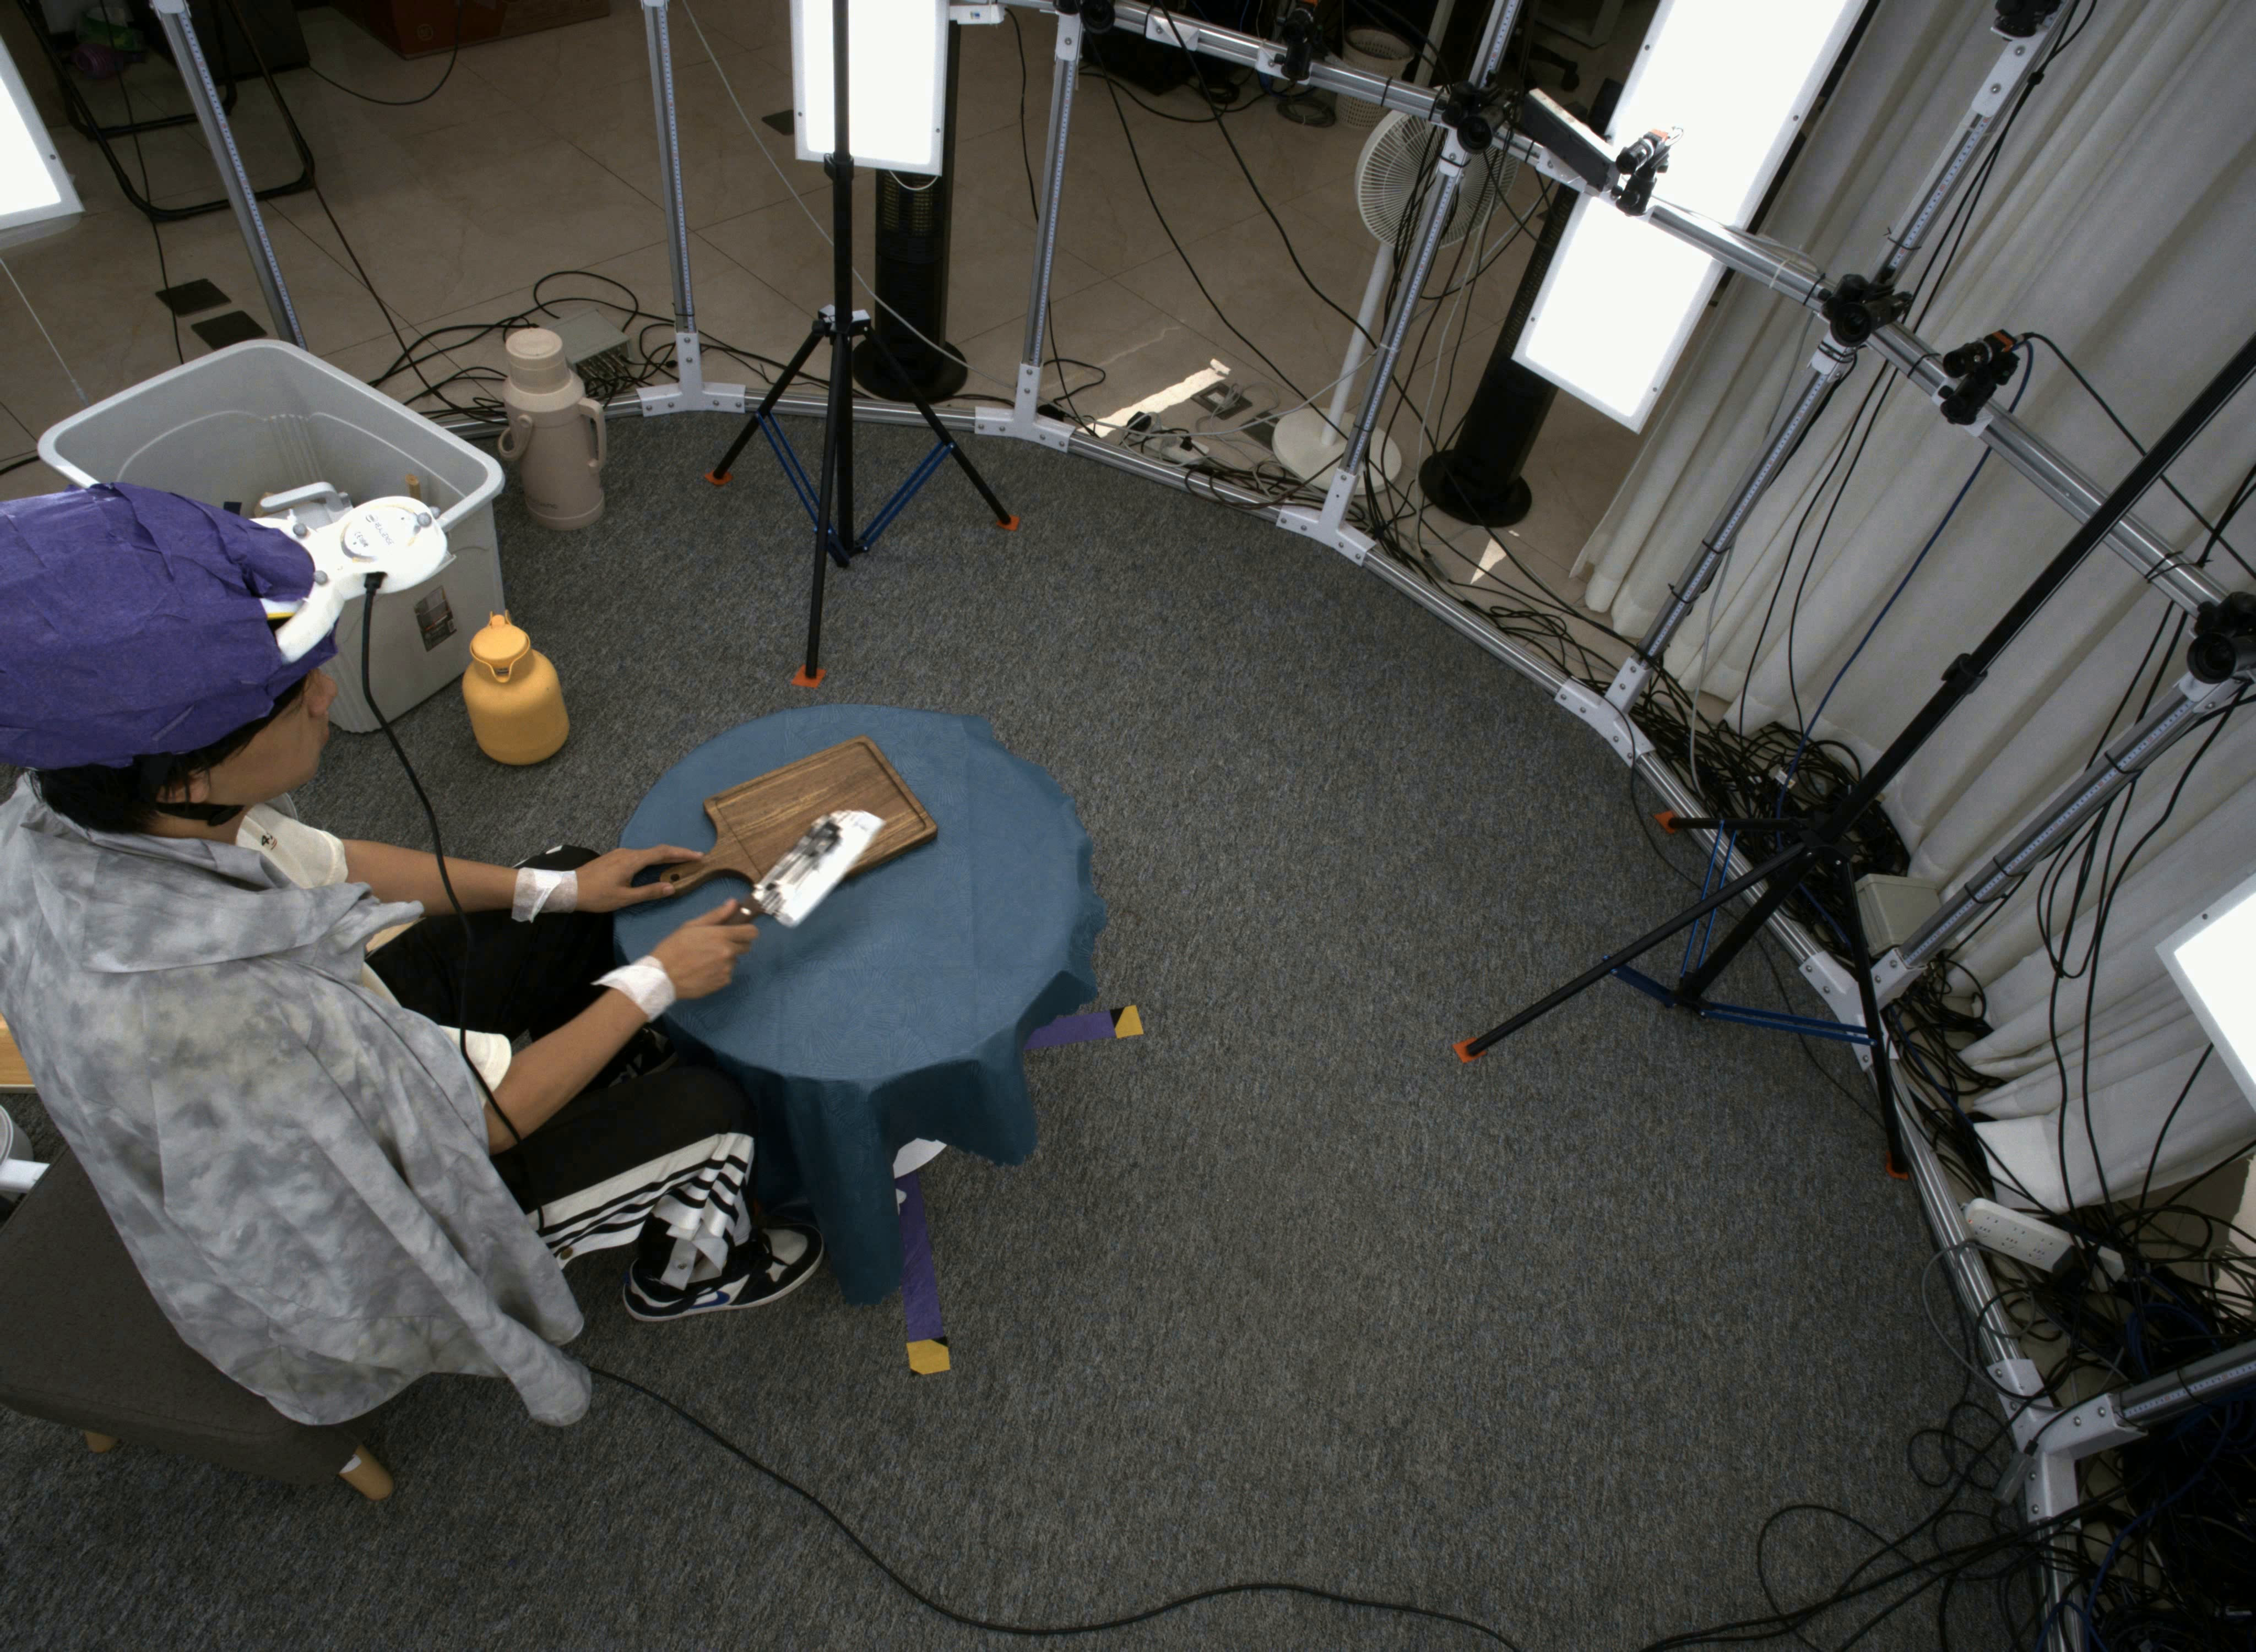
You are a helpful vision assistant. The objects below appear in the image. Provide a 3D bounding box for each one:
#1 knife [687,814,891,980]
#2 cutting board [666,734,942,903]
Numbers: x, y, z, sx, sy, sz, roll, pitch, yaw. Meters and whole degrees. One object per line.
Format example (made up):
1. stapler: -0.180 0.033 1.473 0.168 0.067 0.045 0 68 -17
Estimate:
1. knife: -0.404 0.085 1.560 0.069 0.023 0.299 47 69 -13
2. cutting board: -0.441 0.010 1.701 0.353 0.023 0.196 -27 64 -29
